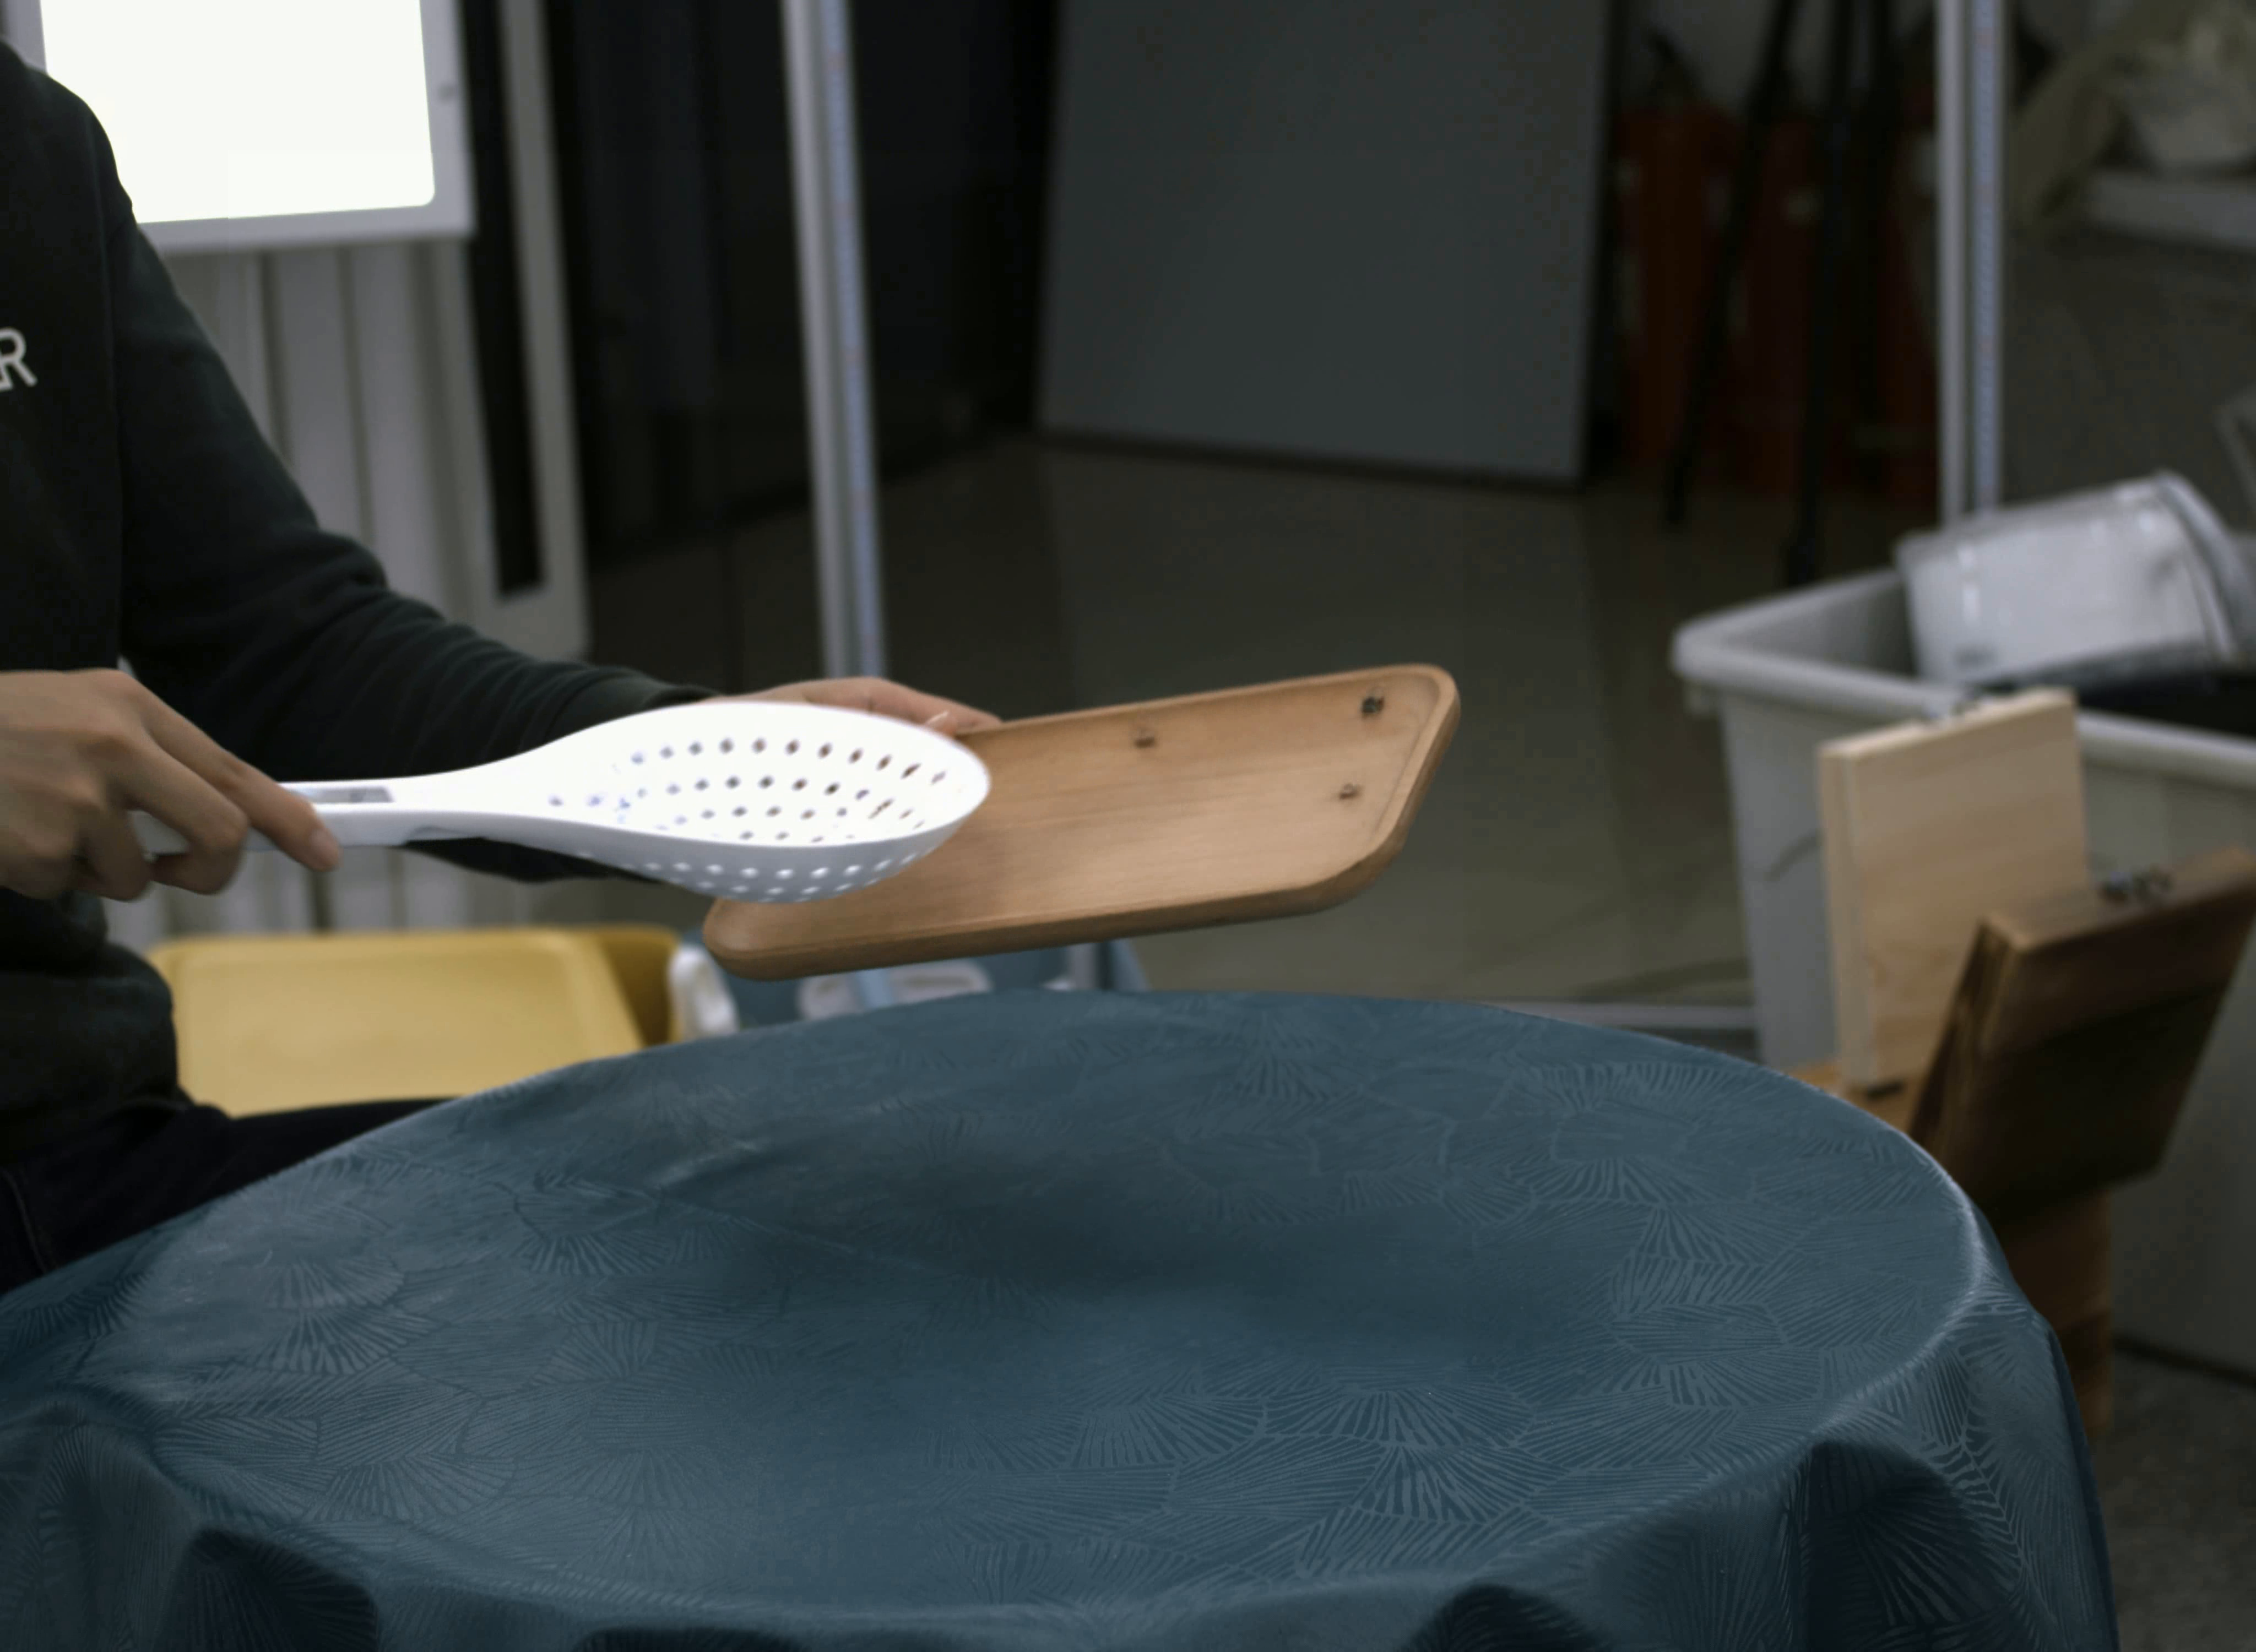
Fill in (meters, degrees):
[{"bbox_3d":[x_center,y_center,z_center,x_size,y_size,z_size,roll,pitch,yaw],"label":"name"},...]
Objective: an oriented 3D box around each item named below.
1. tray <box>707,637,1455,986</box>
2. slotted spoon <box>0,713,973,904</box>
[{"bbox_3d":[-0.015,-0.003,1.744,0.251,0.023,0.130,-10,30,29],"label":"tray"},{"bbox_3d":[-0.217,-0.007,1.679,0.342,0.046,0.137,3,16,-18],"label":"slotted spoon"}]
